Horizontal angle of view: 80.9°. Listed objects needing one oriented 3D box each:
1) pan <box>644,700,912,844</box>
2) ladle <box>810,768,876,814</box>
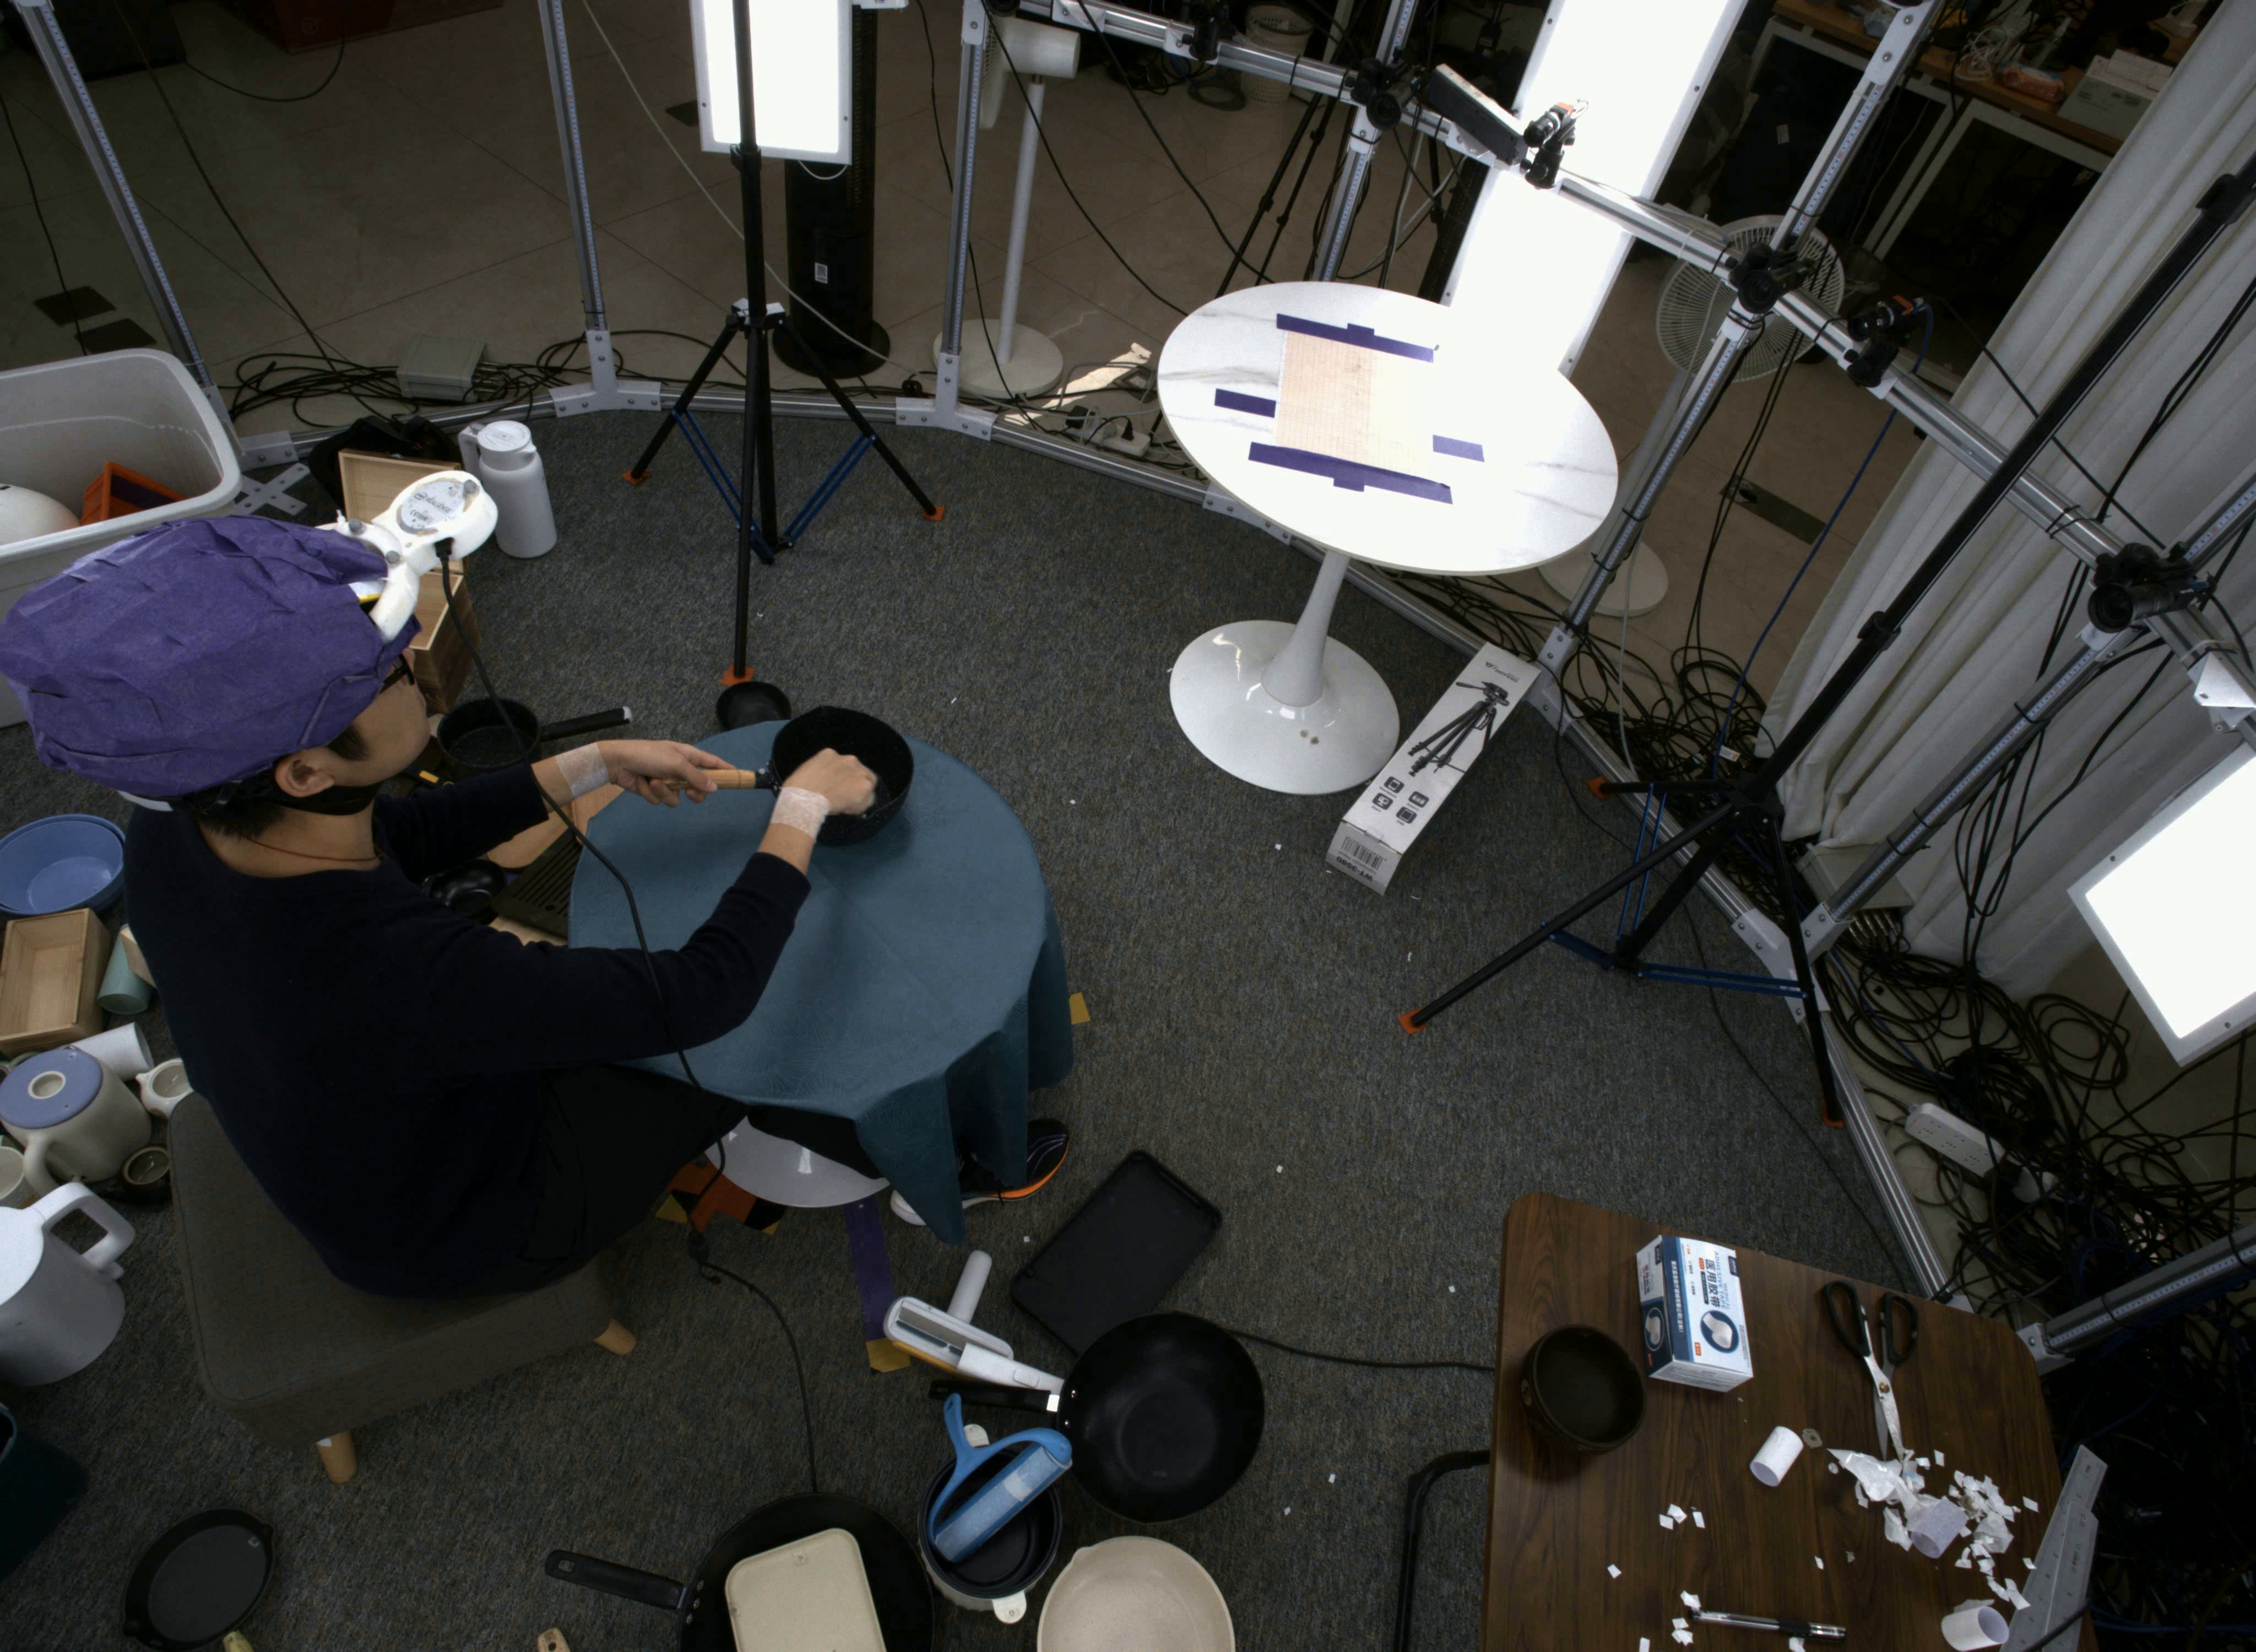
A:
[{"bbox_3d":[-0.447,-0.056,1.660,0.346,0.110,0.202,-11,58,-31],"label":"pan"},{"bbox_3d":[-0.349,-0.054,1.608,0.090,0.271,0.069,19,80,-13],"label":"ladle"}]
